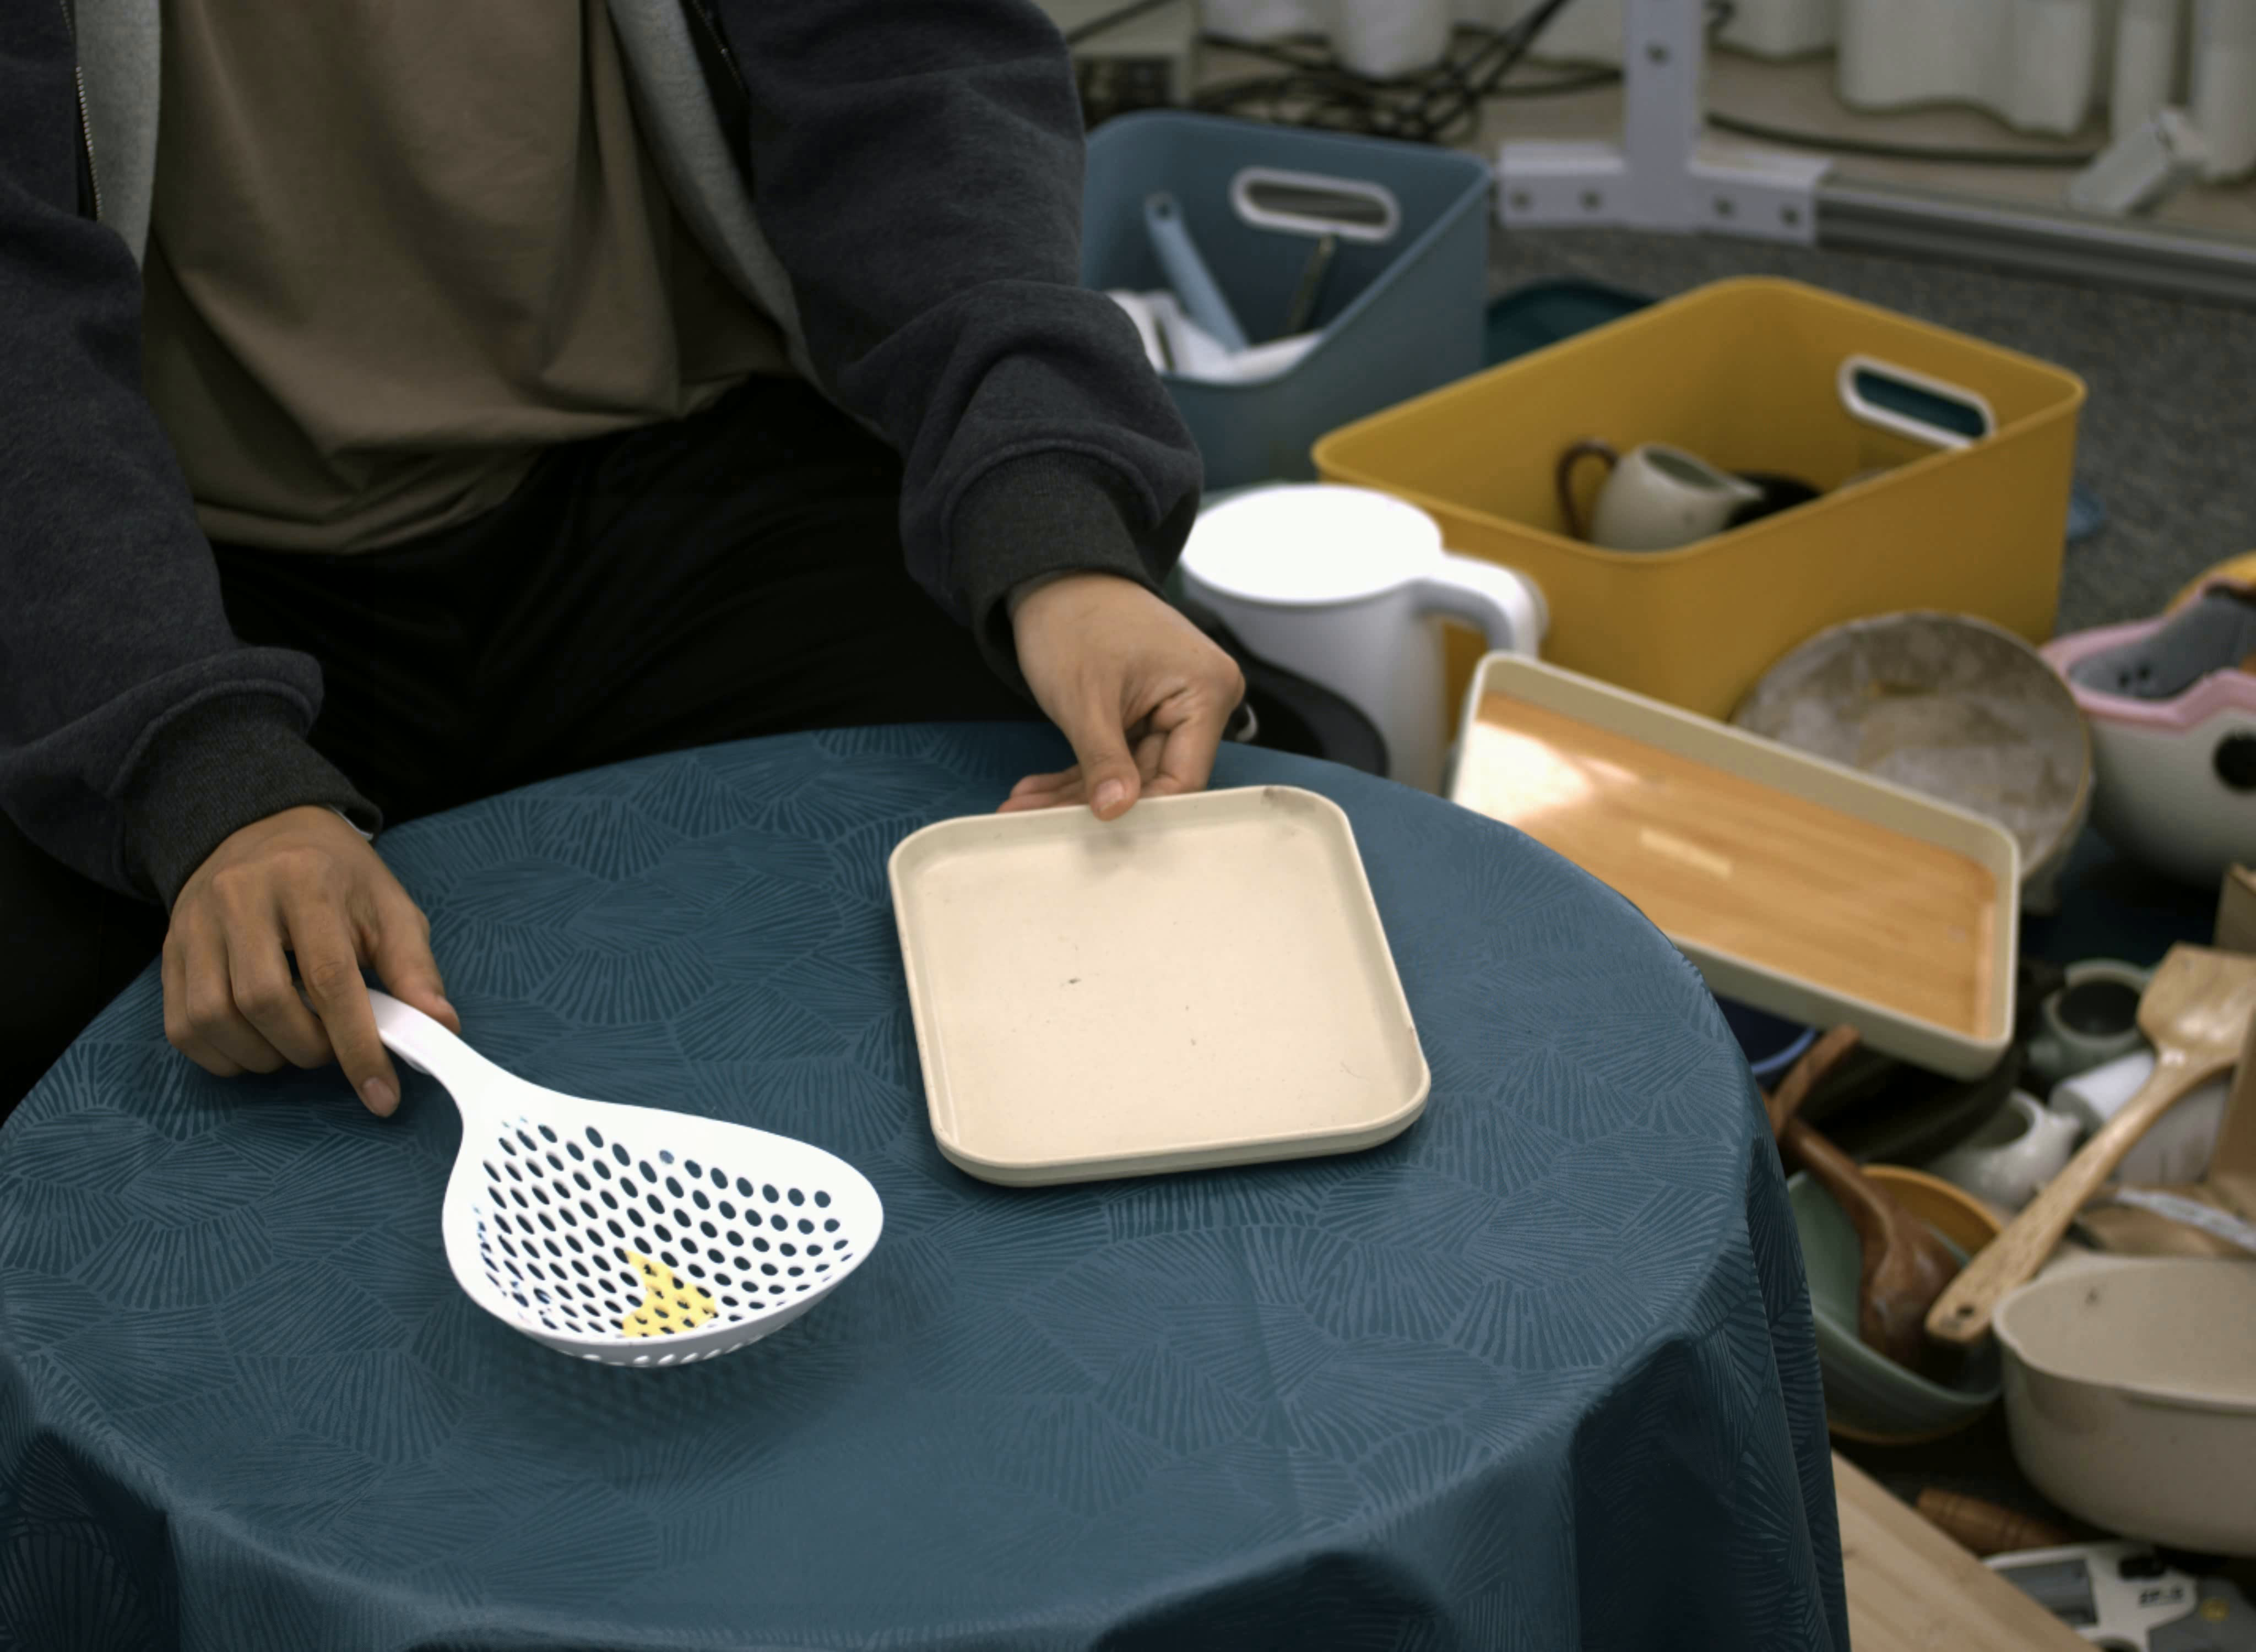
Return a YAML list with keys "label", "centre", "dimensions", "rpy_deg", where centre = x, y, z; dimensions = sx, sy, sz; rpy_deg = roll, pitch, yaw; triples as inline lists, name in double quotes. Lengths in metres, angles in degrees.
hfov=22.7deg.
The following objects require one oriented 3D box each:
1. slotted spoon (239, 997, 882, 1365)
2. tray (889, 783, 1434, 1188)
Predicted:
- label: "slotted spoon"
  centre: [-0.208, 0.104, 1.872]
  dimensions: [0.138, 0.050, 0.349]
  rpy_deg: [-22, 33, -28]
- label: "tray"
  centre: [0.009, 0.054, 1.965]
  dimensions: [0.171, 0.017, 0.243]
  rpy_deg: [-6, 29, -4]
